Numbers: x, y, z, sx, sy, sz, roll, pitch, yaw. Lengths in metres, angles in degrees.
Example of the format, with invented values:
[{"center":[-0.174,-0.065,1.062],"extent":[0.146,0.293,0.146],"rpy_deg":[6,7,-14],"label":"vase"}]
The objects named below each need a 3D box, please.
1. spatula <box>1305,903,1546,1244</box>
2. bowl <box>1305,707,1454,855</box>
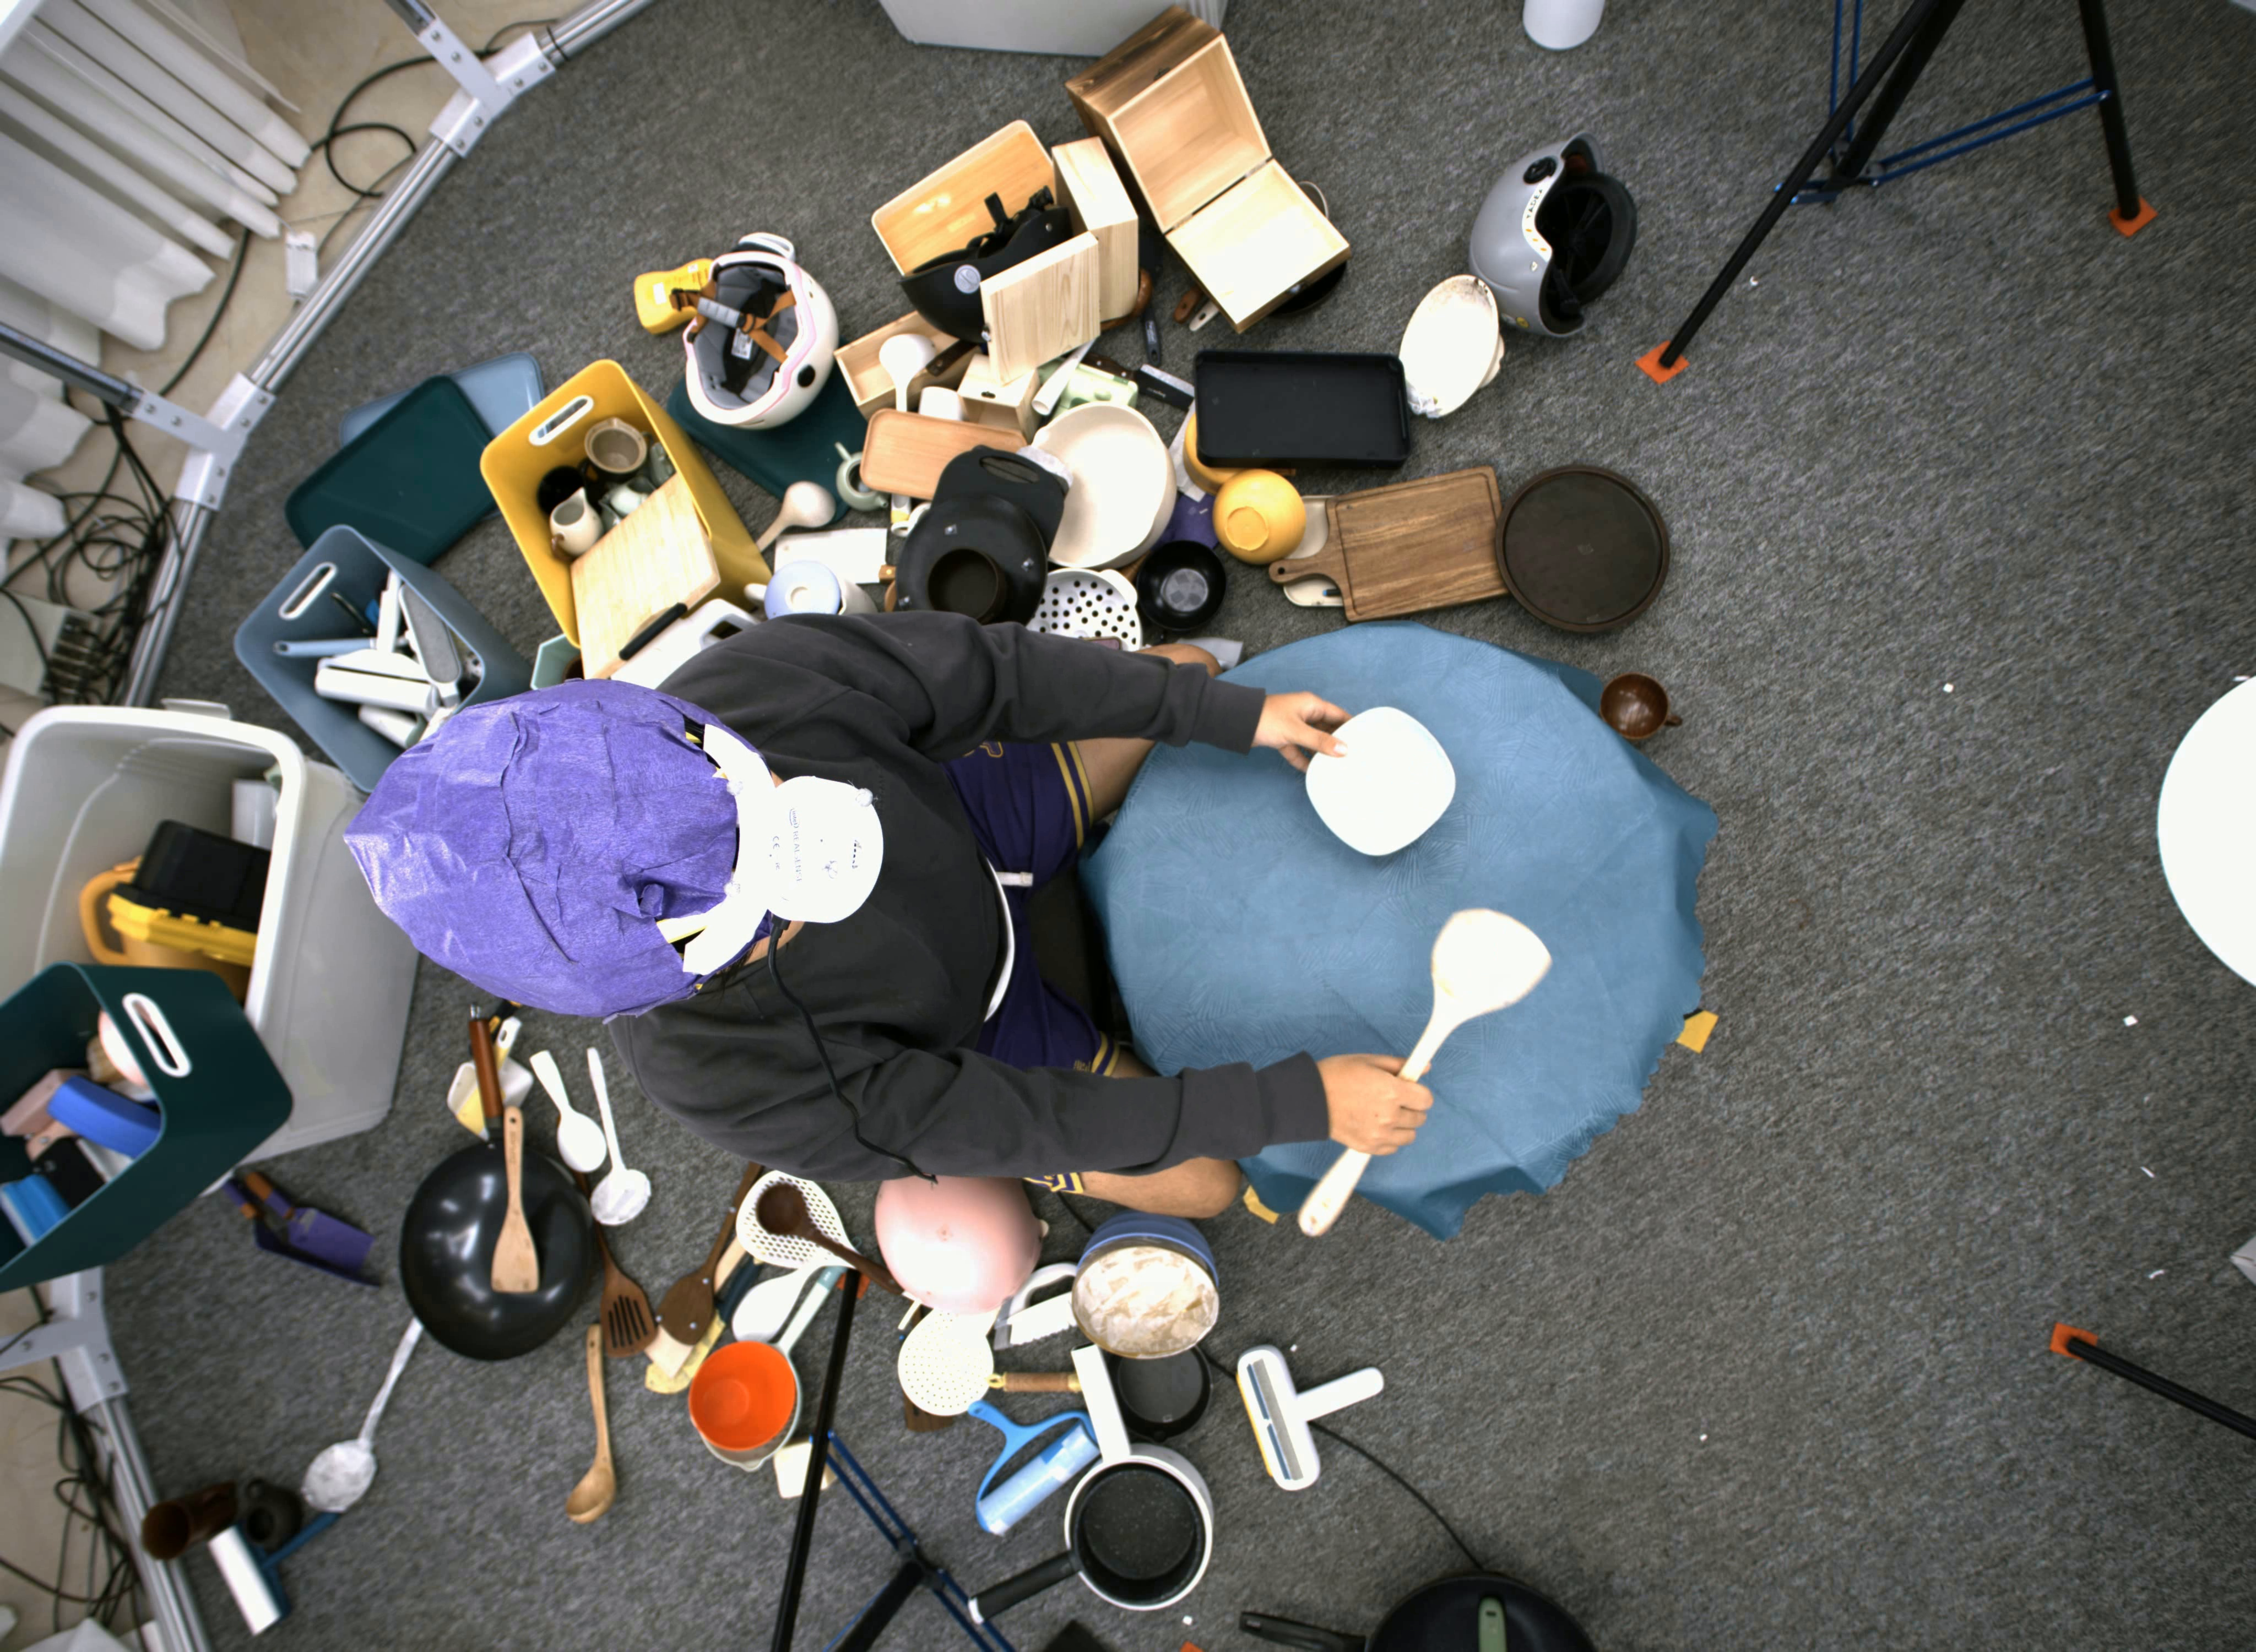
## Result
[{"center":[0.266,0.244,1.311],"extent":[0.096,0.018,0.397],"rpy_deg":[25,109,2],"label":"spatula"},{"center":[0.254,-0.051,1.416],"extent":[0.151,0.058,0.153],"rpy_deg":[0,103,1],"label":"bowl"}]
